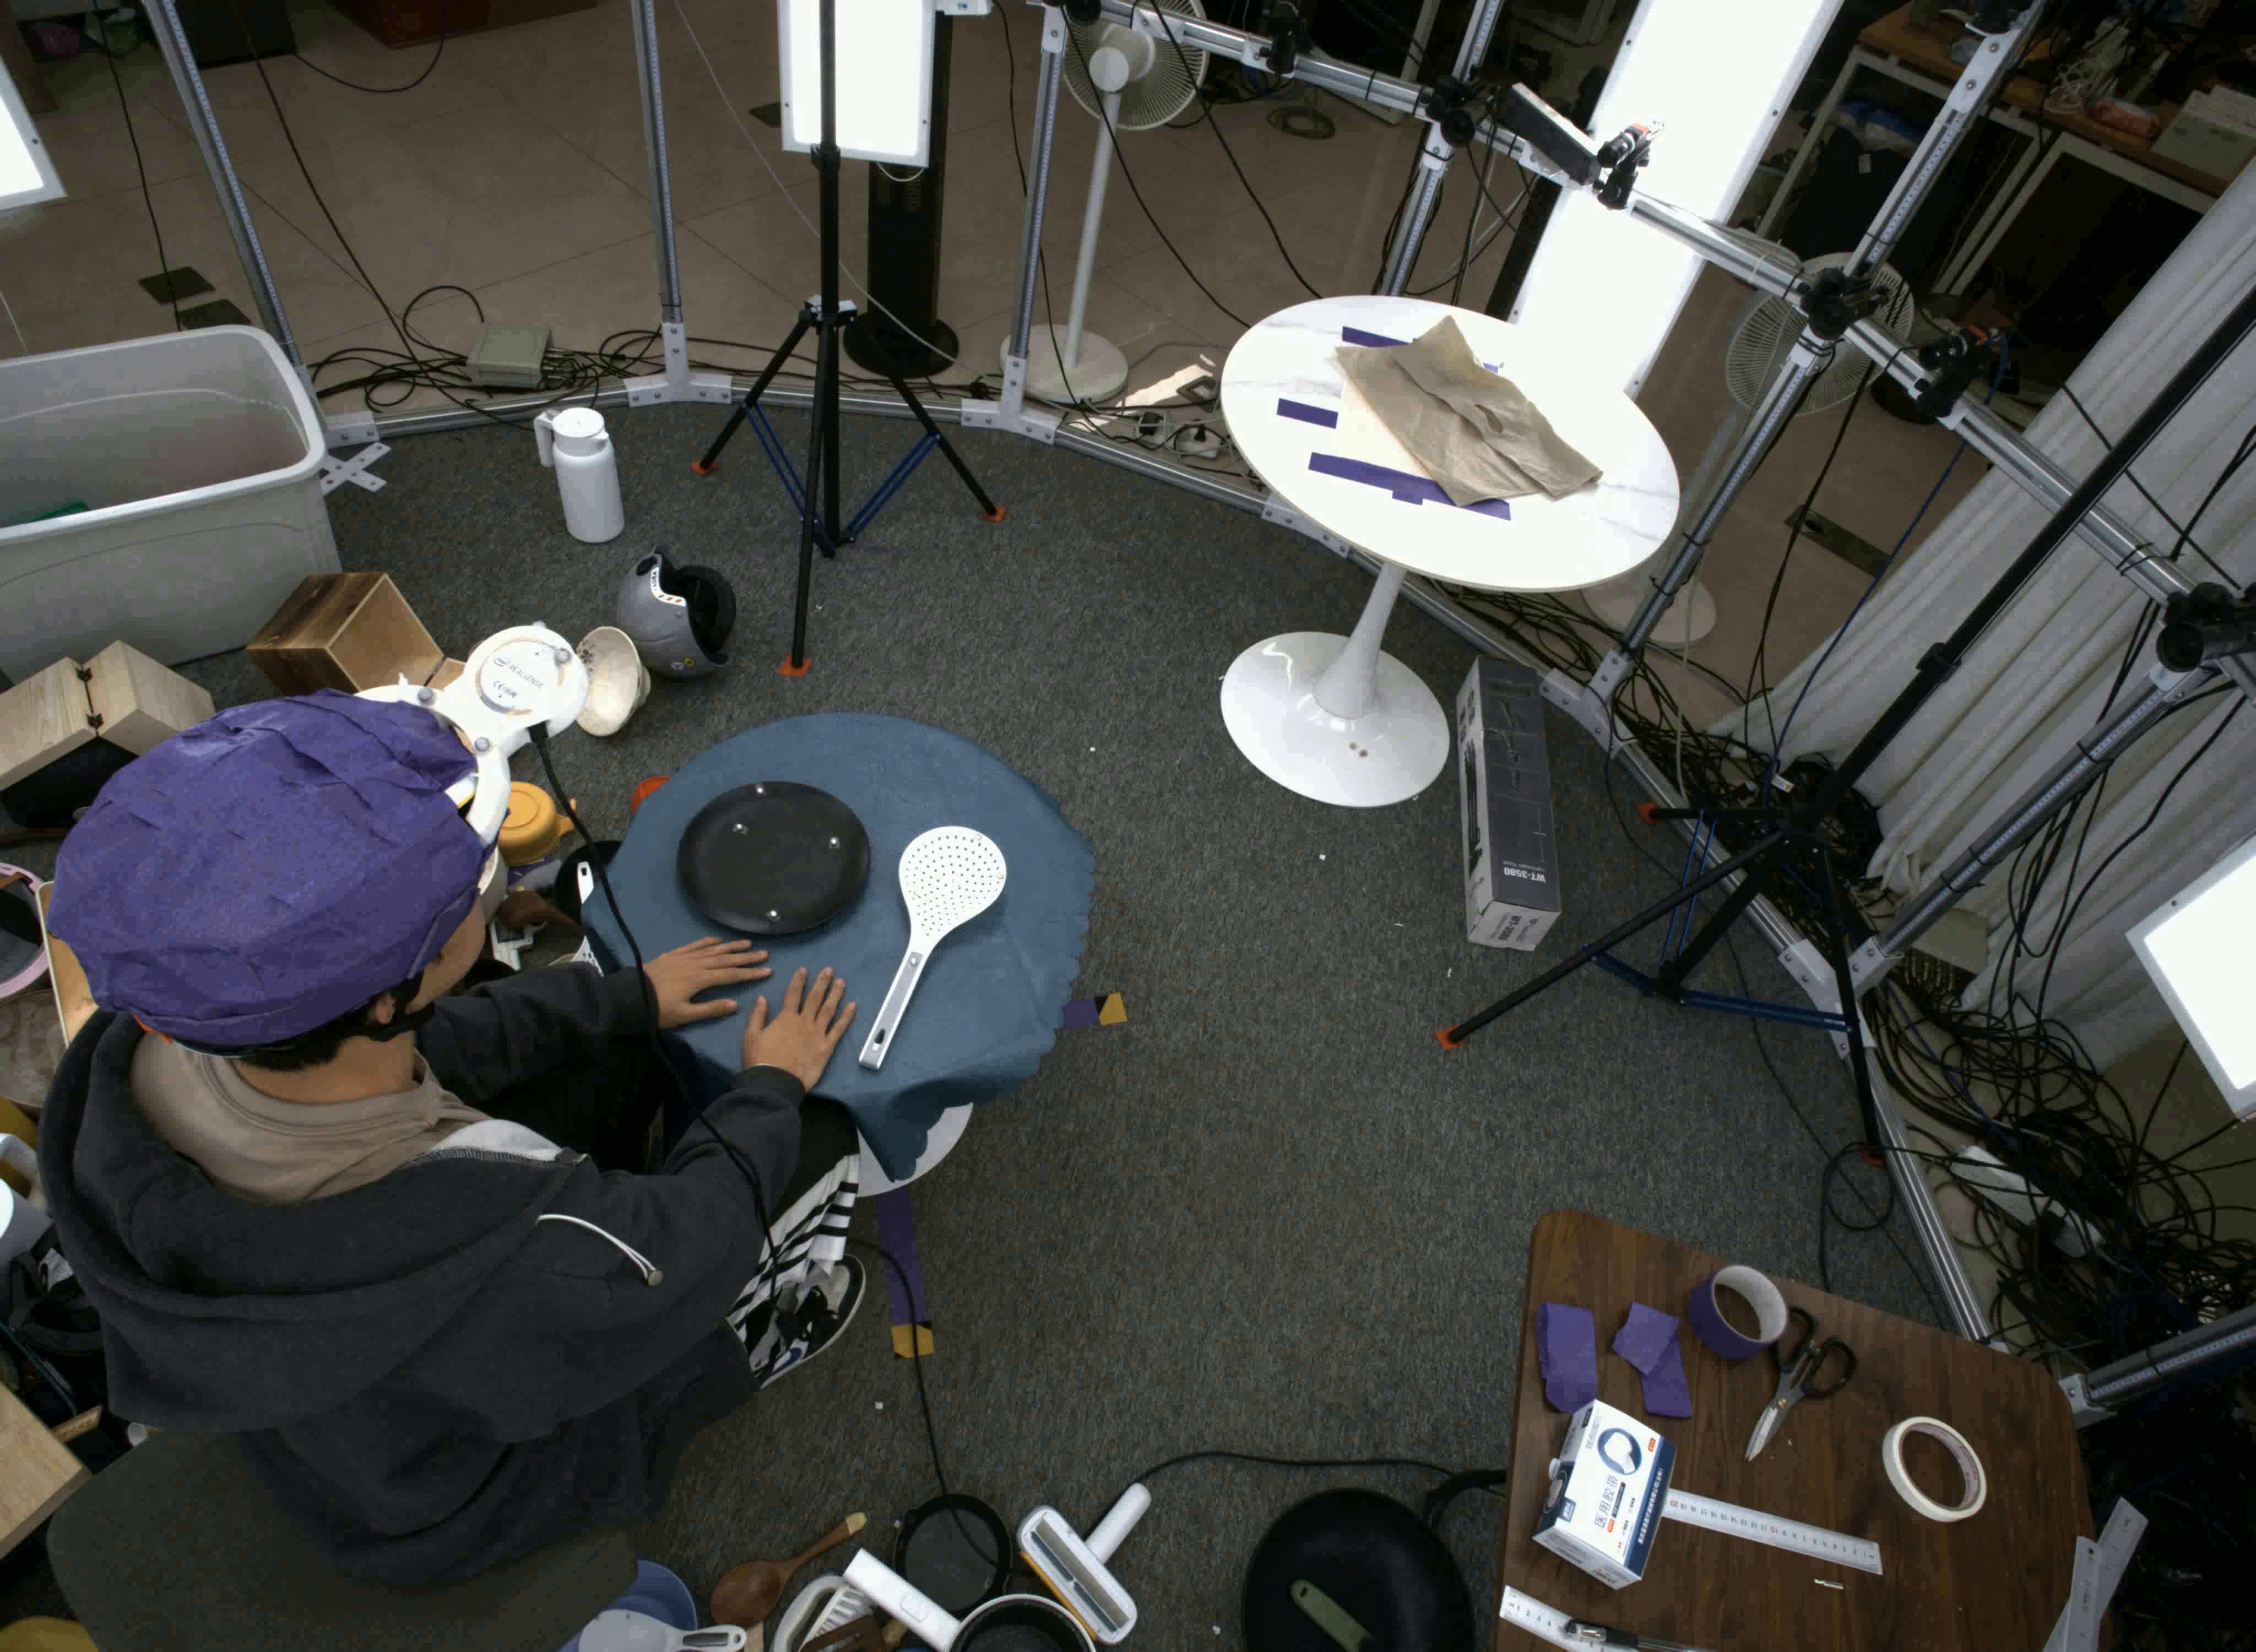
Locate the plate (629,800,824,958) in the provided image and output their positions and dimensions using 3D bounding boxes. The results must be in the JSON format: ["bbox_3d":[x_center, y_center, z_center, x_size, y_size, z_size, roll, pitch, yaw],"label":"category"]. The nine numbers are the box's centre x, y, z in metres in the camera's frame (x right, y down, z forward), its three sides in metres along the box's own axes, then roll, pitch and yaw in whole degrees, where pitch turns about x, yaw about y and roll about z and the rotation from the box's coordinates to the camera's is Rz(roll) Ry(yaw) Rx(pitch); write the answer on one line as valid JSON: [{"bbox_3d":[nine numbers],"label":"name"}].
[{"bbox_3d":[-0.509,0.066,1.643,0.244,0.024,0.240,8,52,-9],"label":"plate"}]

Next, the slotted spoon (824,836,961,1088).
[{"bbox_3d":[-0.305,0.160,1.611,0.135,0.047,0.345,15,53,0],"label":"slotted spoon"}]
